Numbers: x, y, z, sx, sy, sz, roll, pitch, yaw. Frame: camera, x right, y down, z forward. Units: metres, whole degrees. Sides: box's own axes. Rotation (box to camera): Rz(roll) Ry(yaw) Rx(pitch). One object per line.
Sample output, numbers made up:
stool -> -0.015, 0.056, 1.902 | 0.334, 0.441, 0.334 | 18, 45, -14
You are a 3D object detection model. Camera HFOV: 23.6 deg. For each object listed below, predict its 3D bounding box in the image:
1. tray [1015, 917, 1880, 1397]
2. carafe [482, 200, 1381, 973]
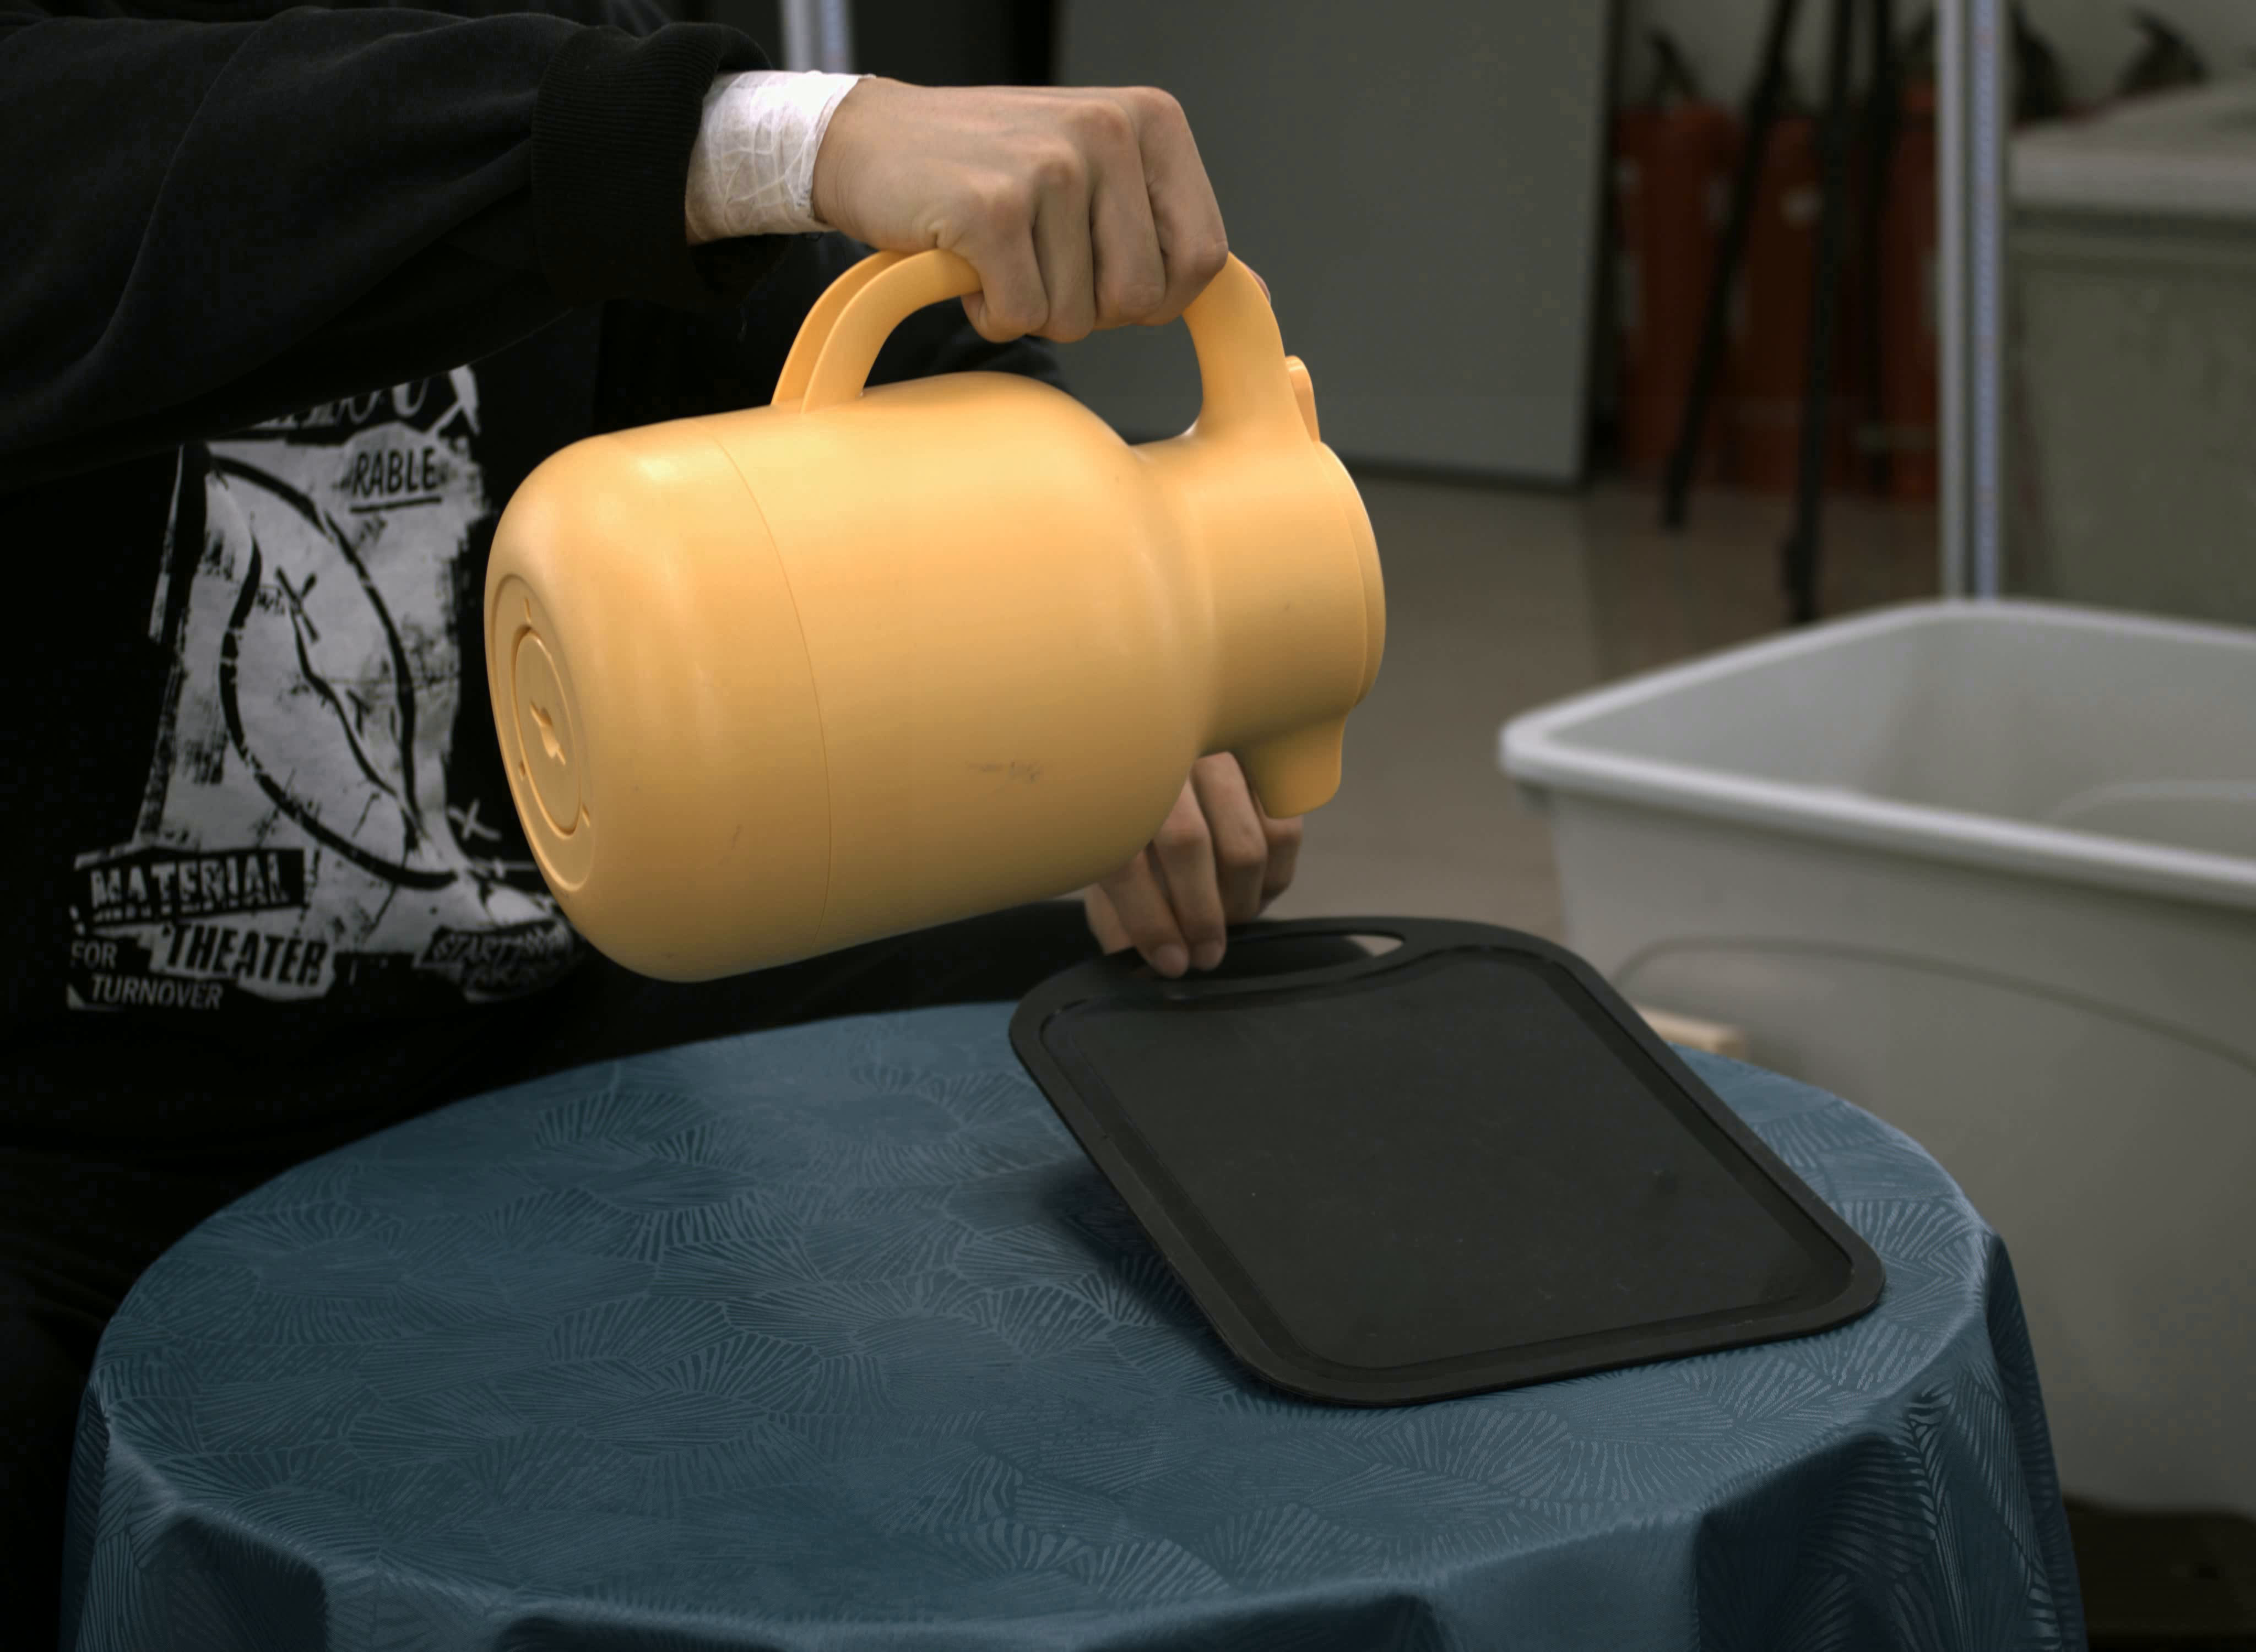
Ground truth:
tray -> 0.091, 0.096, 1.719 | 0.207, 0.010, 0.328 | -8, 24, -16
carafe -> -0.056, -0.075, 1.598 | 0.255, 0.204, 0.165 | -12, 10, -22
